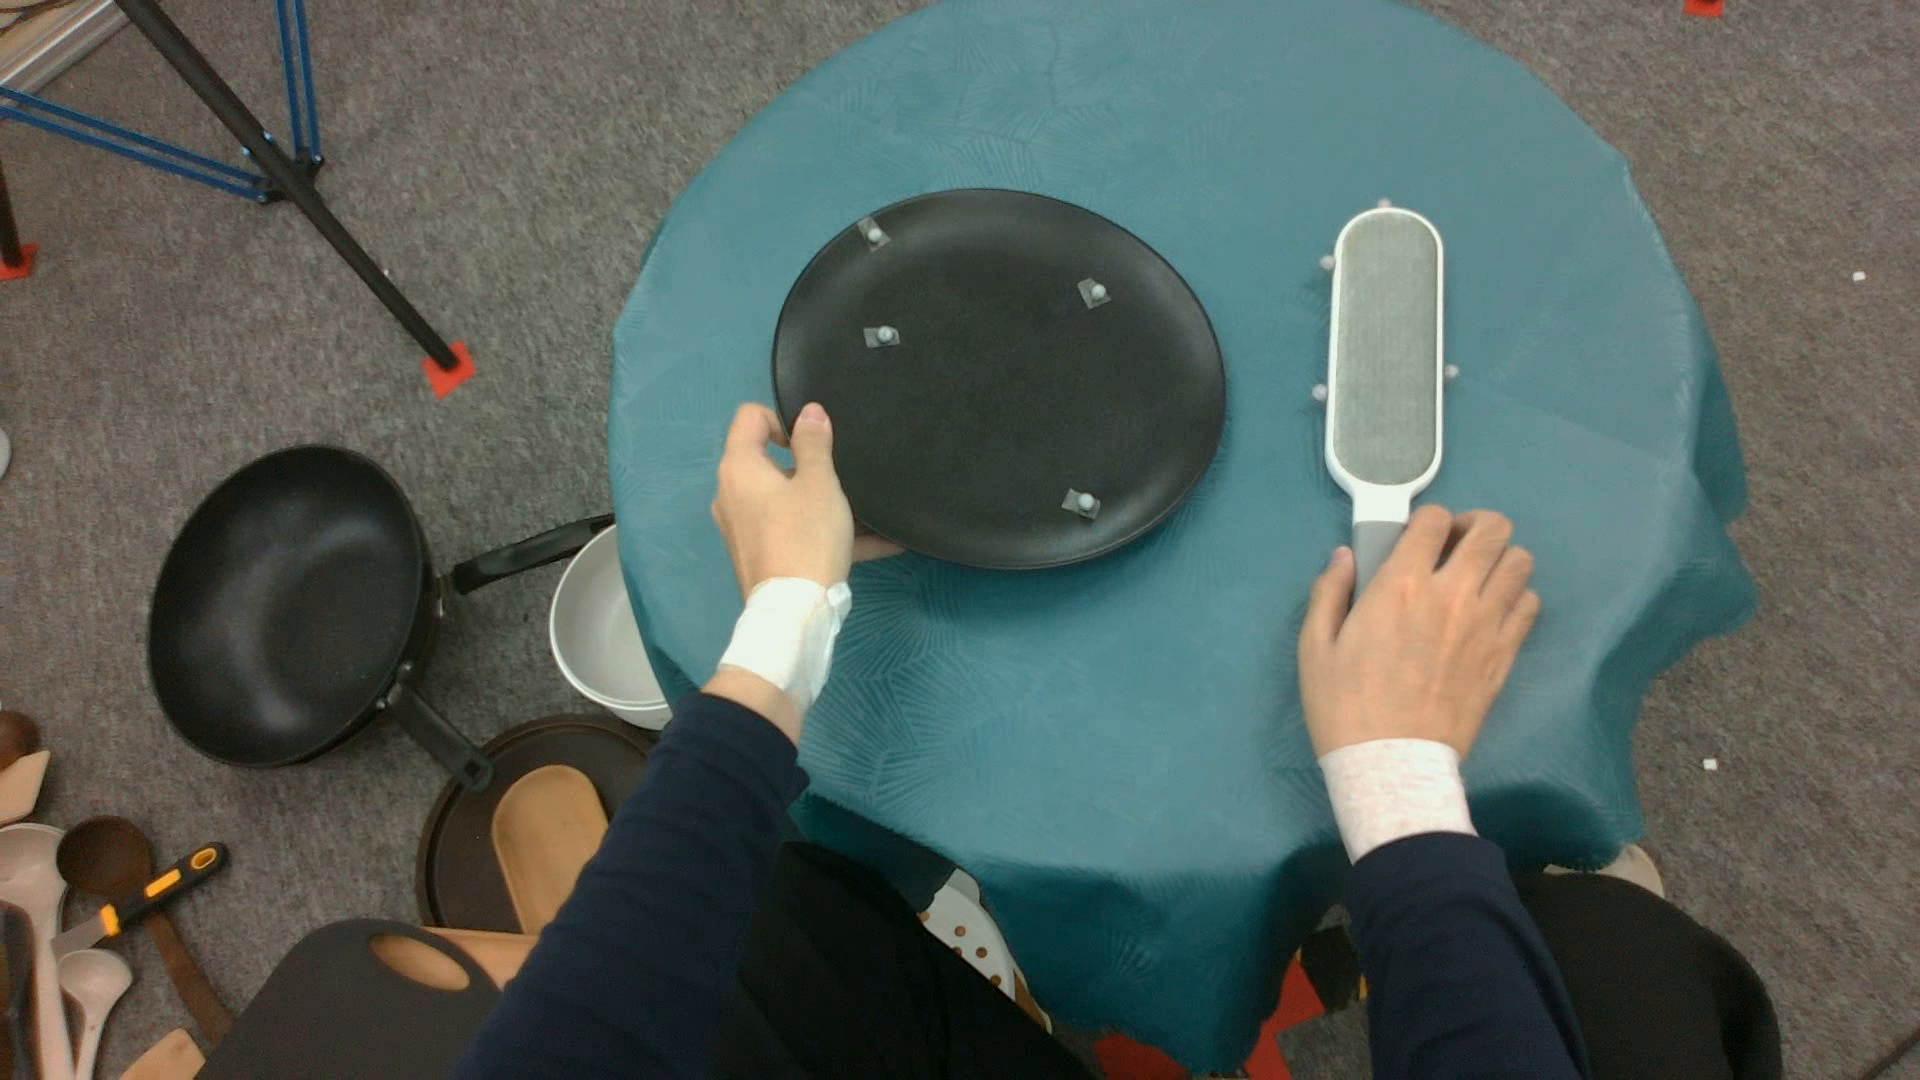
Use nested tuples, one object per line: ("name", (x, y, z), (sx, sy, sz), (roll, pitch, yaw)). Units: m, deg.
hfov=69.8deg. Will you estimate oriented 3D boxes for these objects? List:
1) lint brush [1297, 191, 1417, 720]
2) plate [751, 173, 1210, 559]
("lint brush", (0.202, -0.055, 0.707), (0.060, 0.021, 0.310), (8, 65, 4))
("plate", (0.012, -0.097, 0.735), (0.244, 0.023, 0.245), (3, 62, -6))
